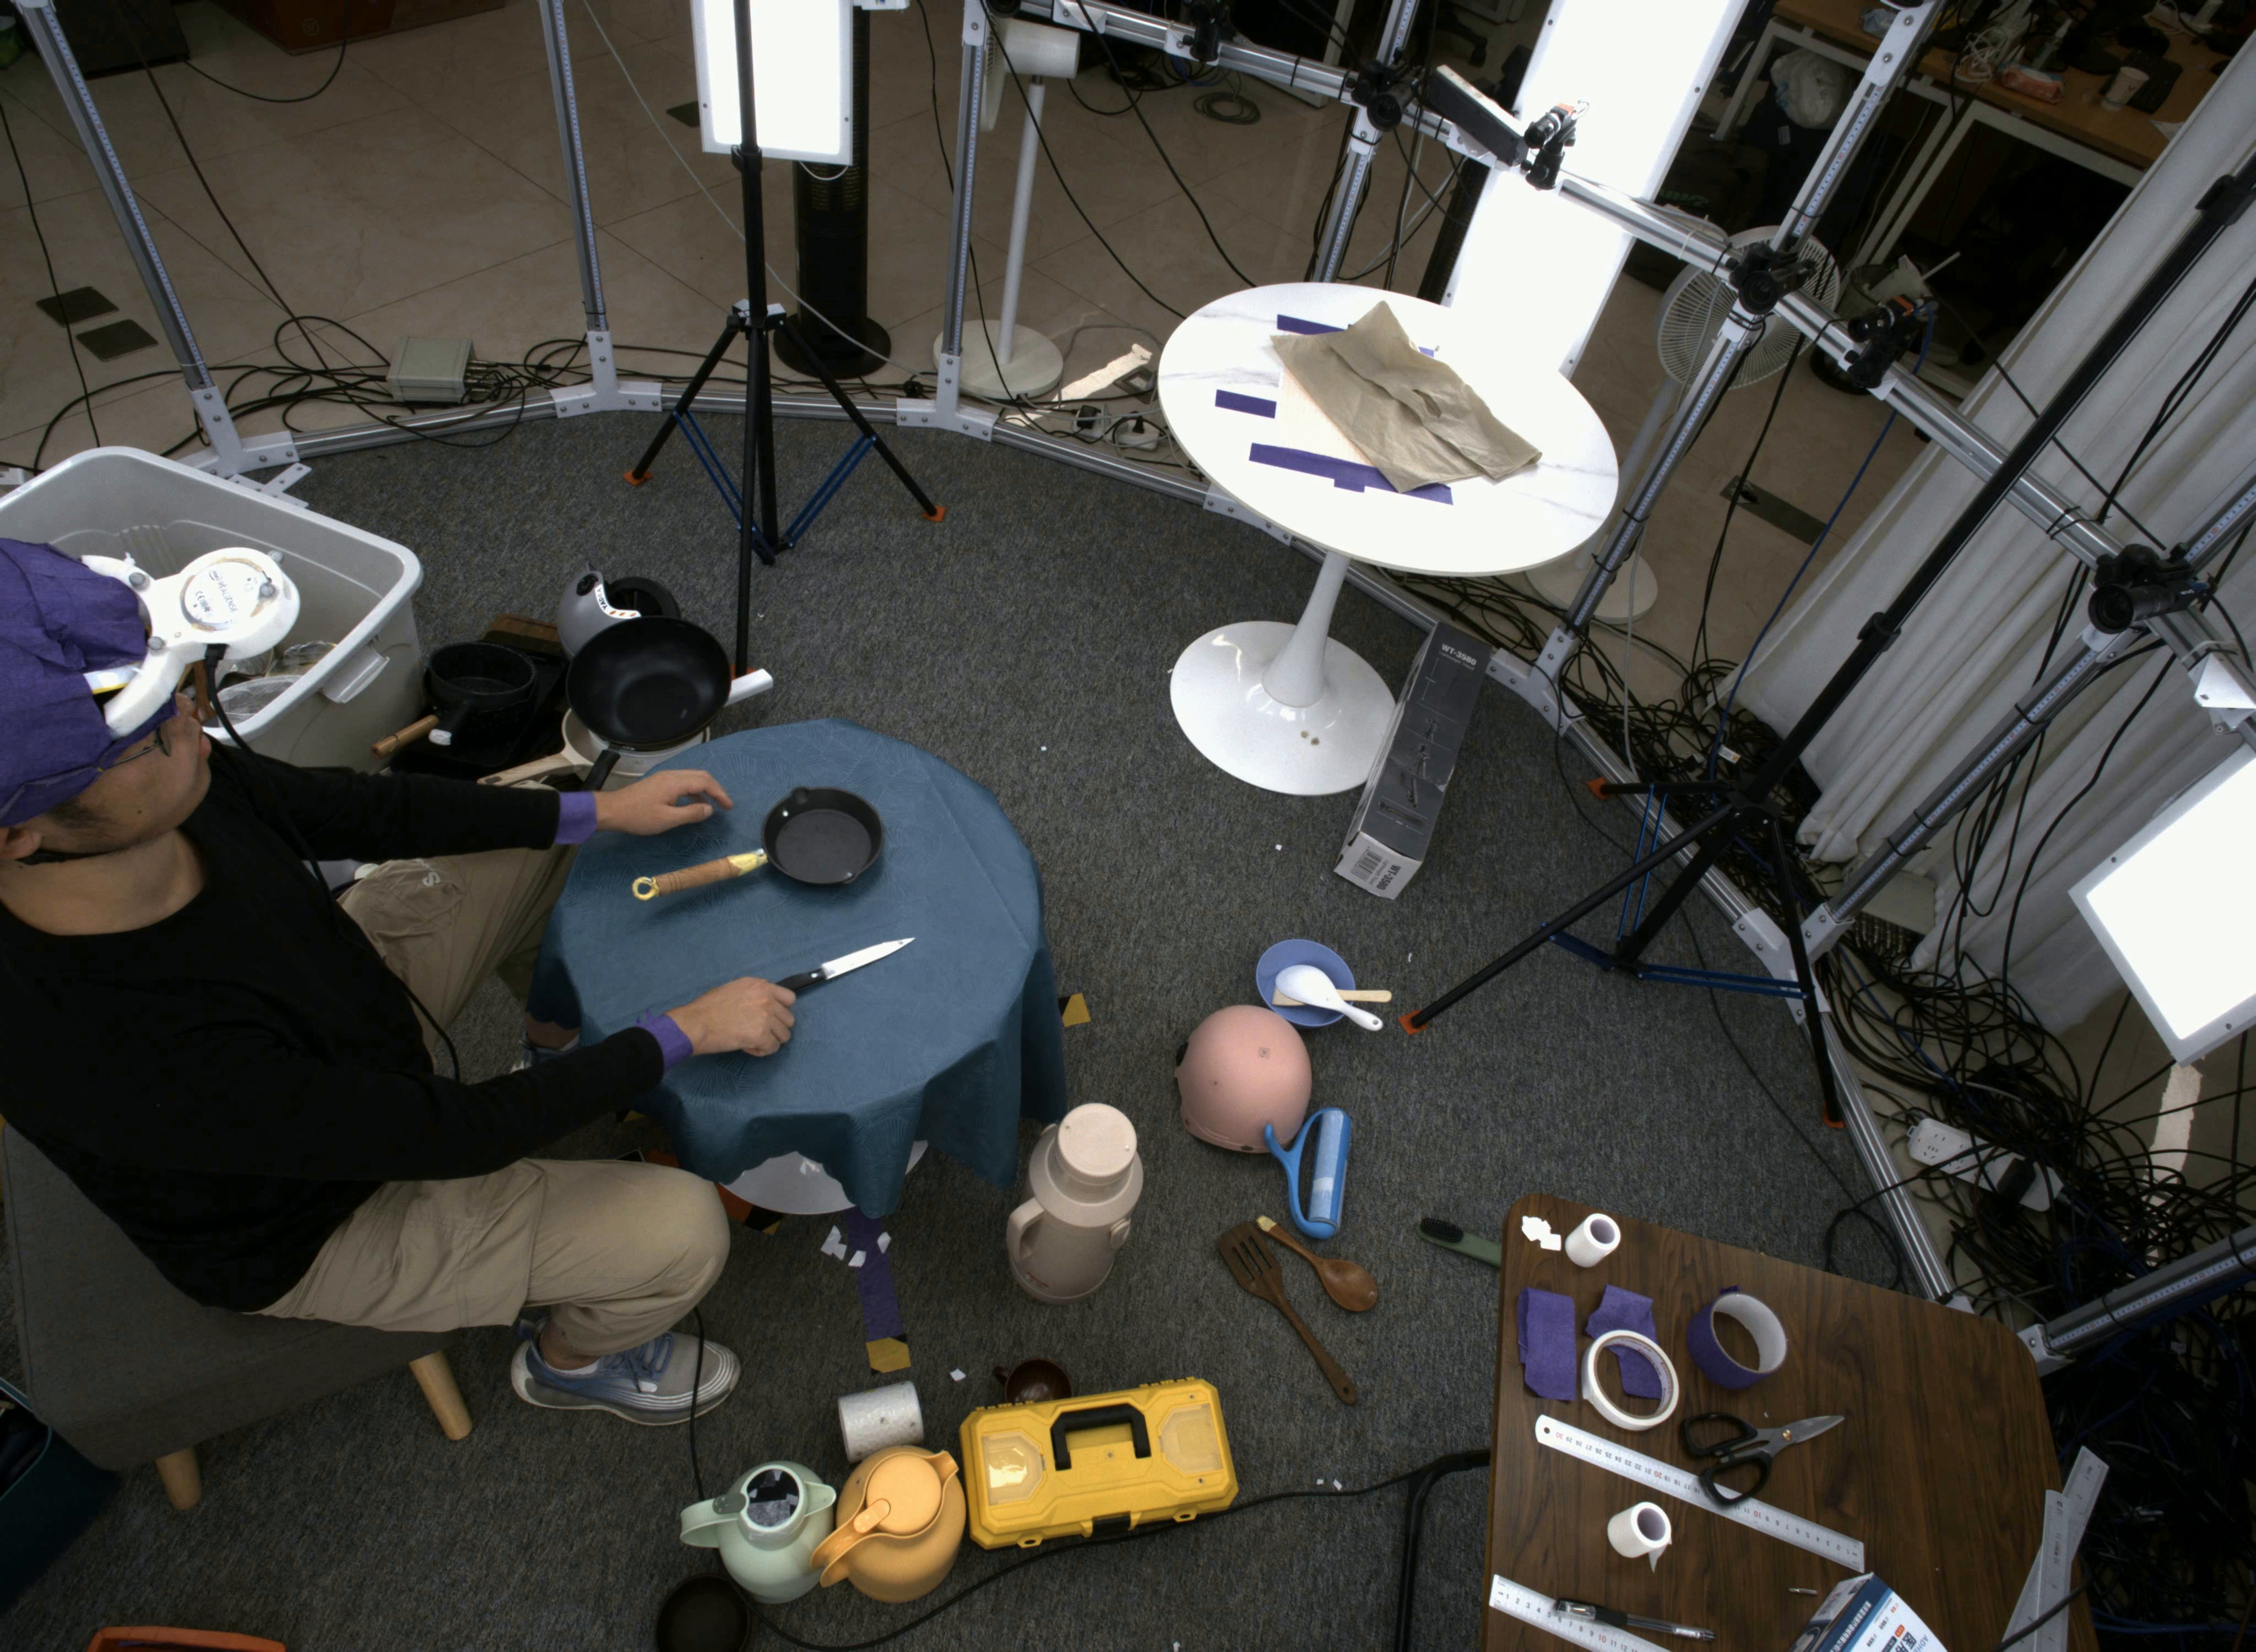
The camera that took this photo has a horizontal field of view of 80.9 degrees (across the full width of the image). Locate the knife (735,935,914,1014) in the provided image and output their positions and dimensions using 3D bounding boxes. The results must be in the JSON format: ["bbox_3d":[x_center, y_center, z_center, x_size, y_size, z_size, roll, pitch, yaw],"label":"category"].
[{"bbox_3d":[-0.368,0.178,1.596,0.239,0.016,0.024,-21,60,-30],"label":"knife"}]

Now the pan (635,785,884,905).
[{"bbox_3d":[-0.468,0.039,1.651,0.326,0.050,0.164,-20,61,-26],"label":"pan"}]
